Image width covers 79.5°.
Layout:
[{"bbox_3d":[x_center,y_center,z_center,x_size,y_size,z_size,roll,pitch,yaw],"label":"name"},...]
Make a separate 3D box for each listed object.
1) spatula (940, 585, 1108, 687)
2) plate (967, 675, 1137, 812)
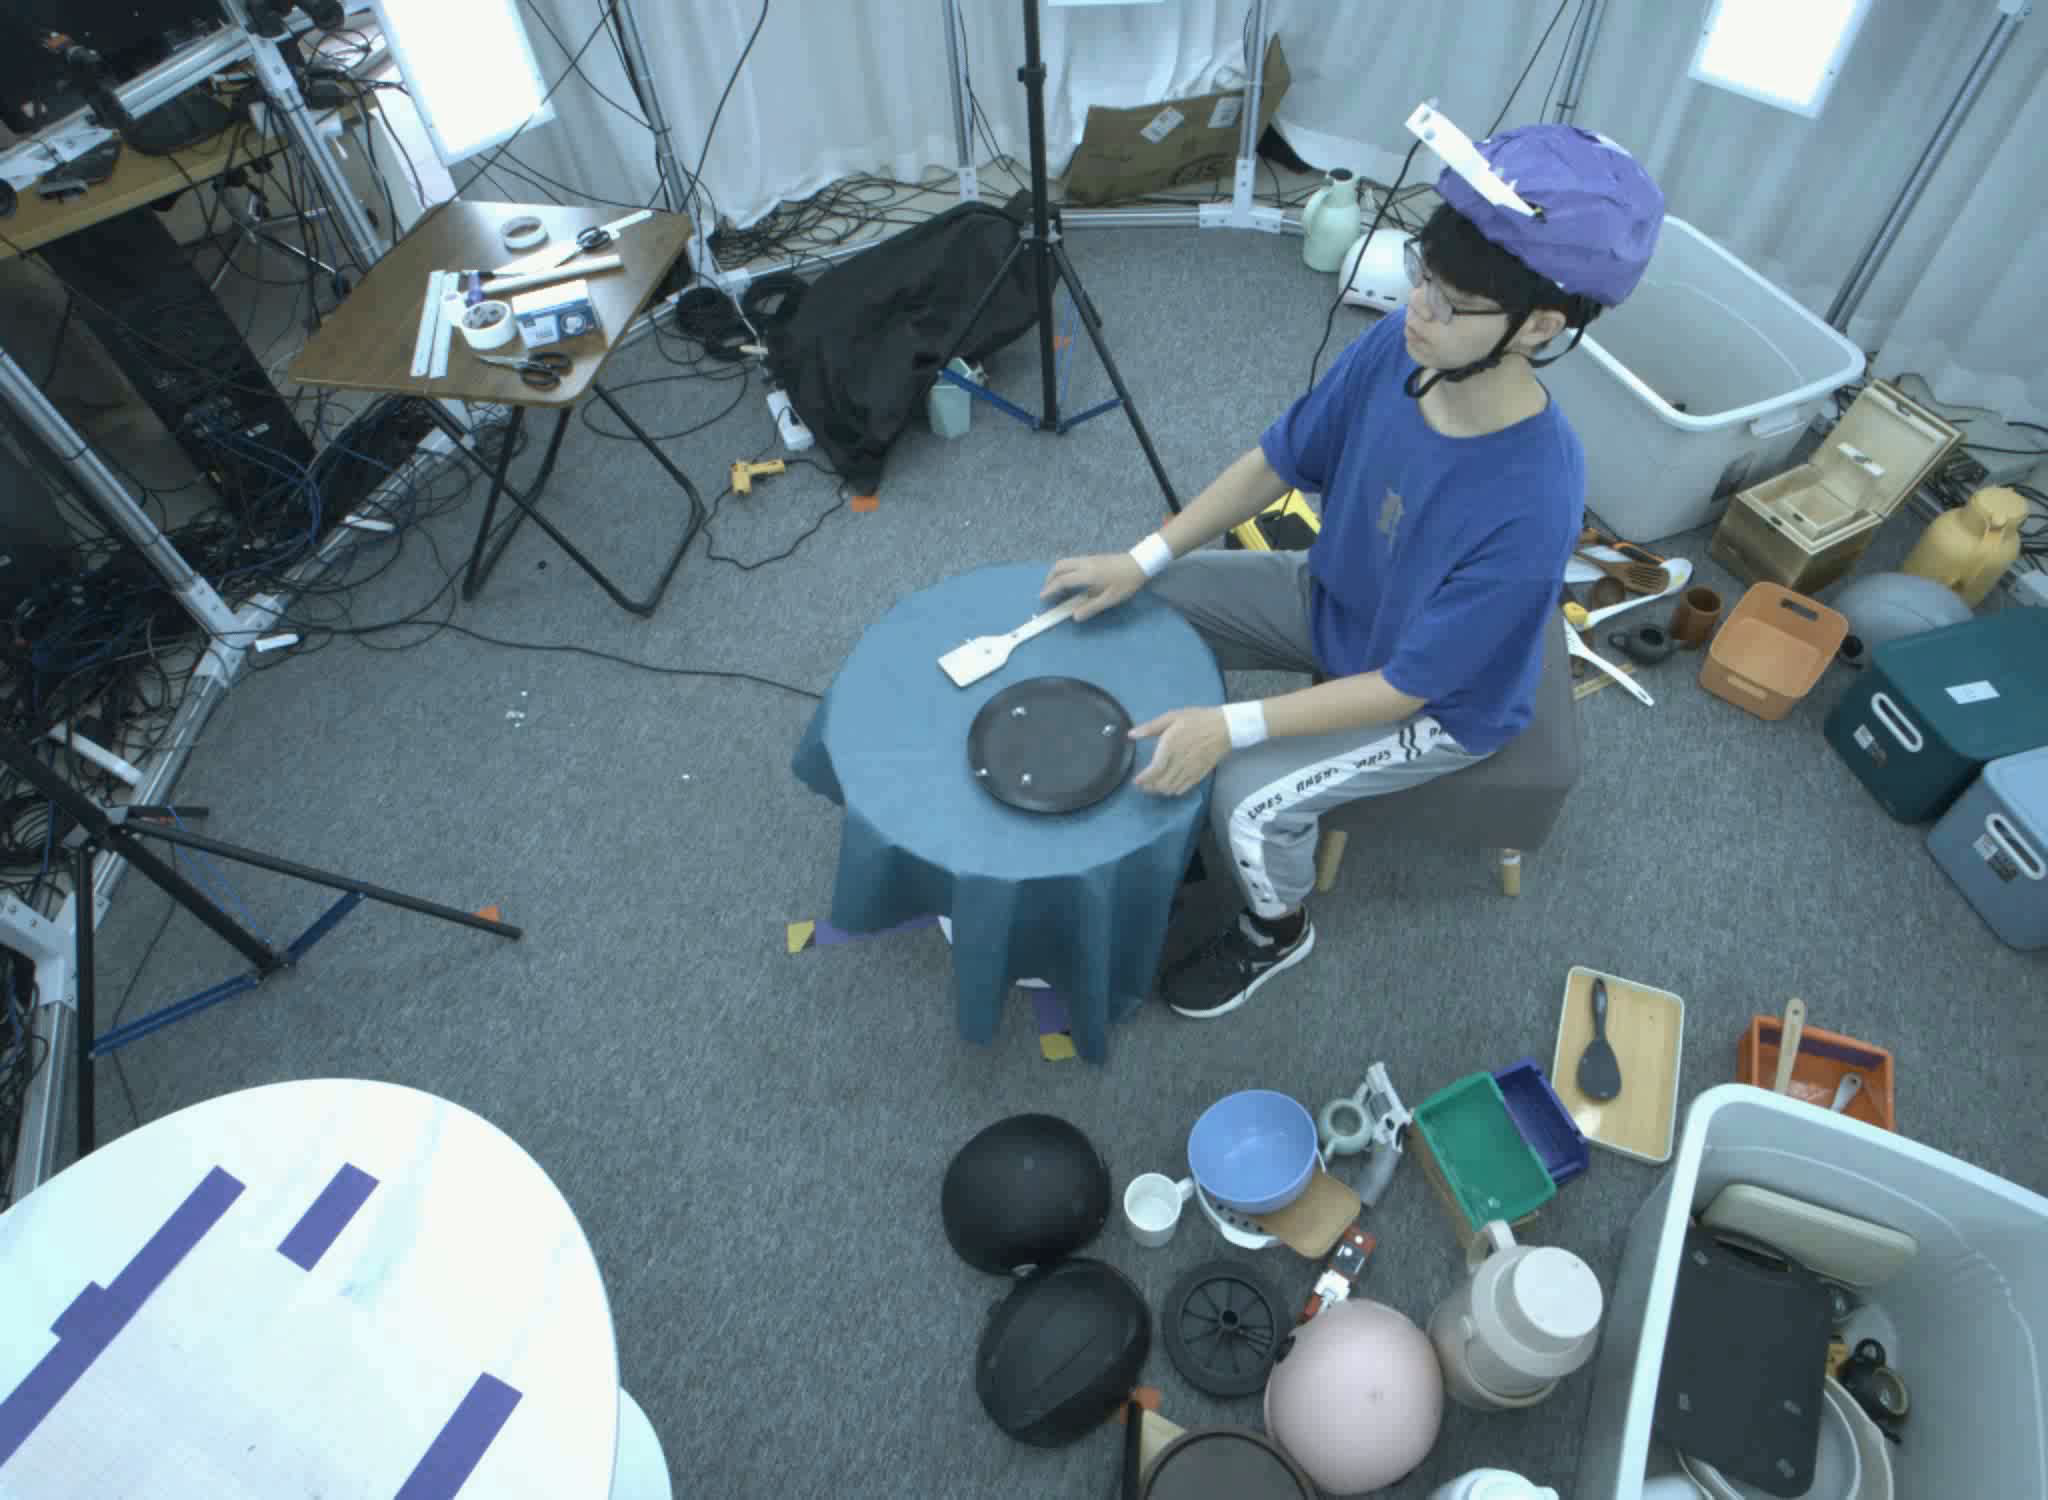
[{"bbox_3d":[0.008,-0.186,1.905,0.295,0.011,0.071,-31,57,-18],"label":"spatula"},{"bbox_3d":[0.040,-0.008,1.768,0.244,0.024,0.242,-1,54,2],"label":"plate"}]
